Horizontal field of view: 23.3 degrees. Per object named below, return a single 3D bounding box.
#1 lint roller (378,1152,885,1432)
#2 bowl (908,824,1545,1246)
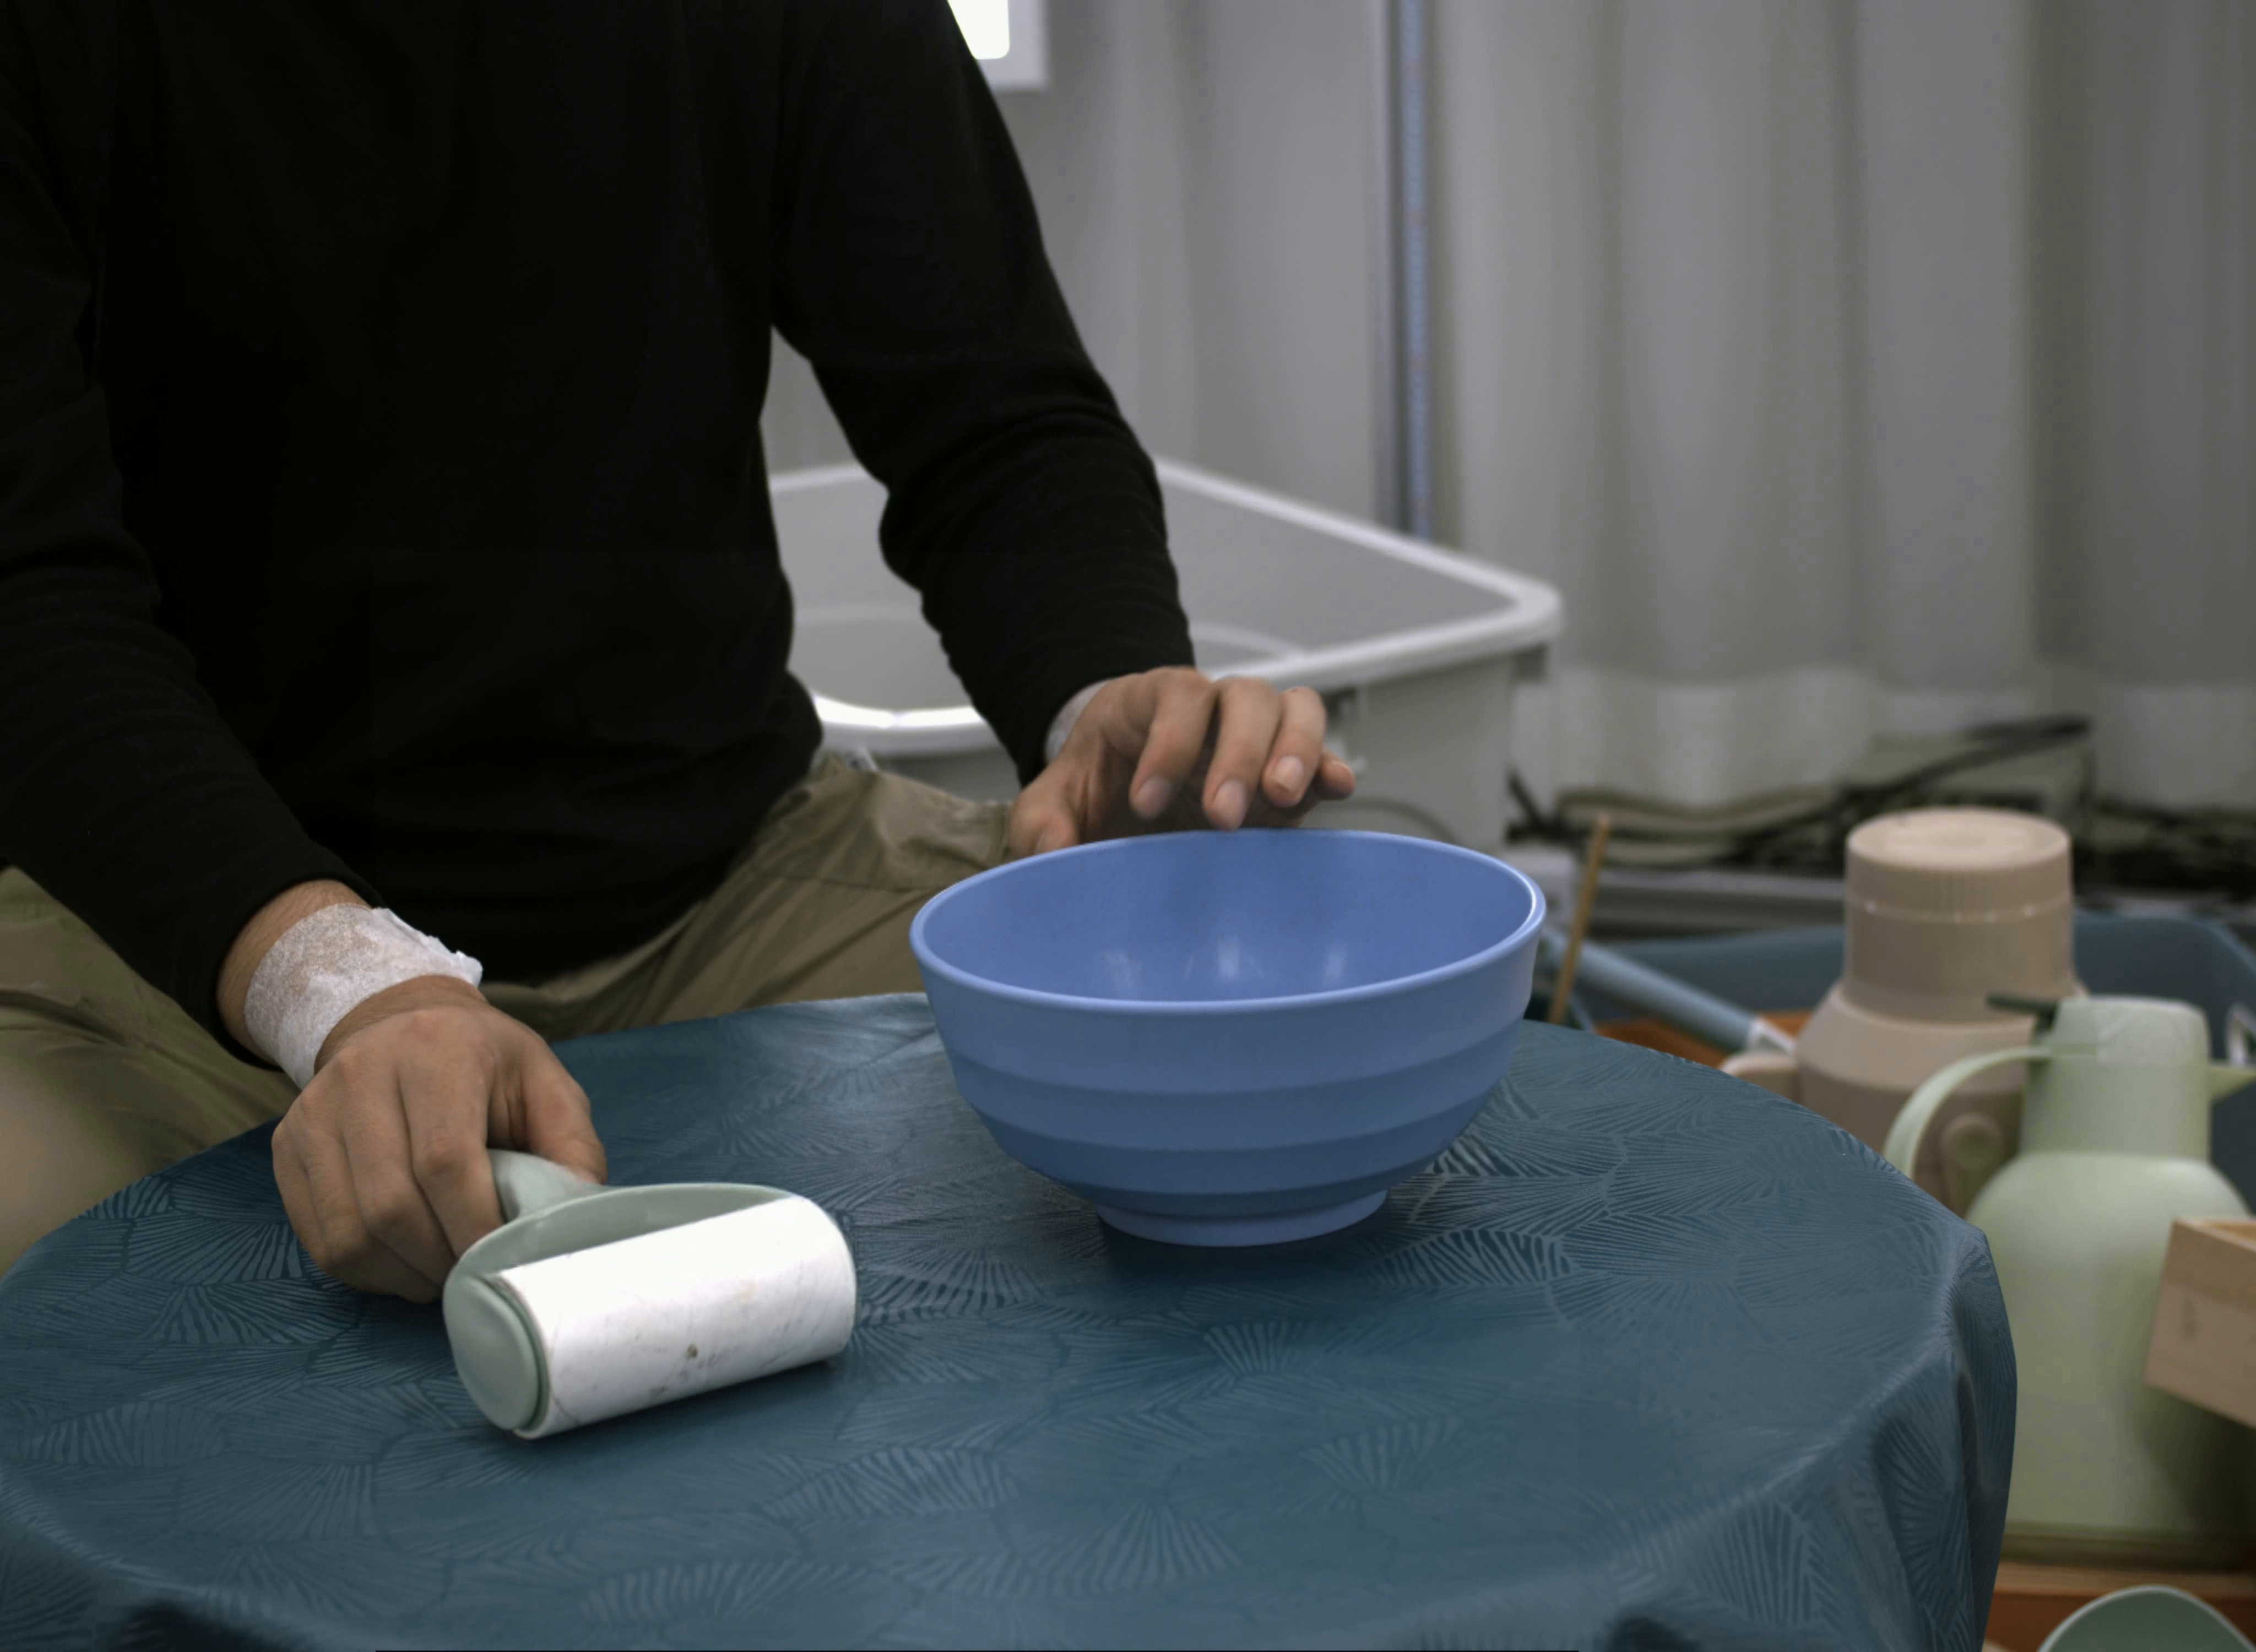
[{"bbox_3d":[-0.166,0.122,1.616,0.116,0.048,0.199,-14,20,-32],"label":"lint roller"},{"bbox_3d":[0.033,0.070,1.689,0.196,0.095,0.198,-4,15,1],"label":"bowl"}]
